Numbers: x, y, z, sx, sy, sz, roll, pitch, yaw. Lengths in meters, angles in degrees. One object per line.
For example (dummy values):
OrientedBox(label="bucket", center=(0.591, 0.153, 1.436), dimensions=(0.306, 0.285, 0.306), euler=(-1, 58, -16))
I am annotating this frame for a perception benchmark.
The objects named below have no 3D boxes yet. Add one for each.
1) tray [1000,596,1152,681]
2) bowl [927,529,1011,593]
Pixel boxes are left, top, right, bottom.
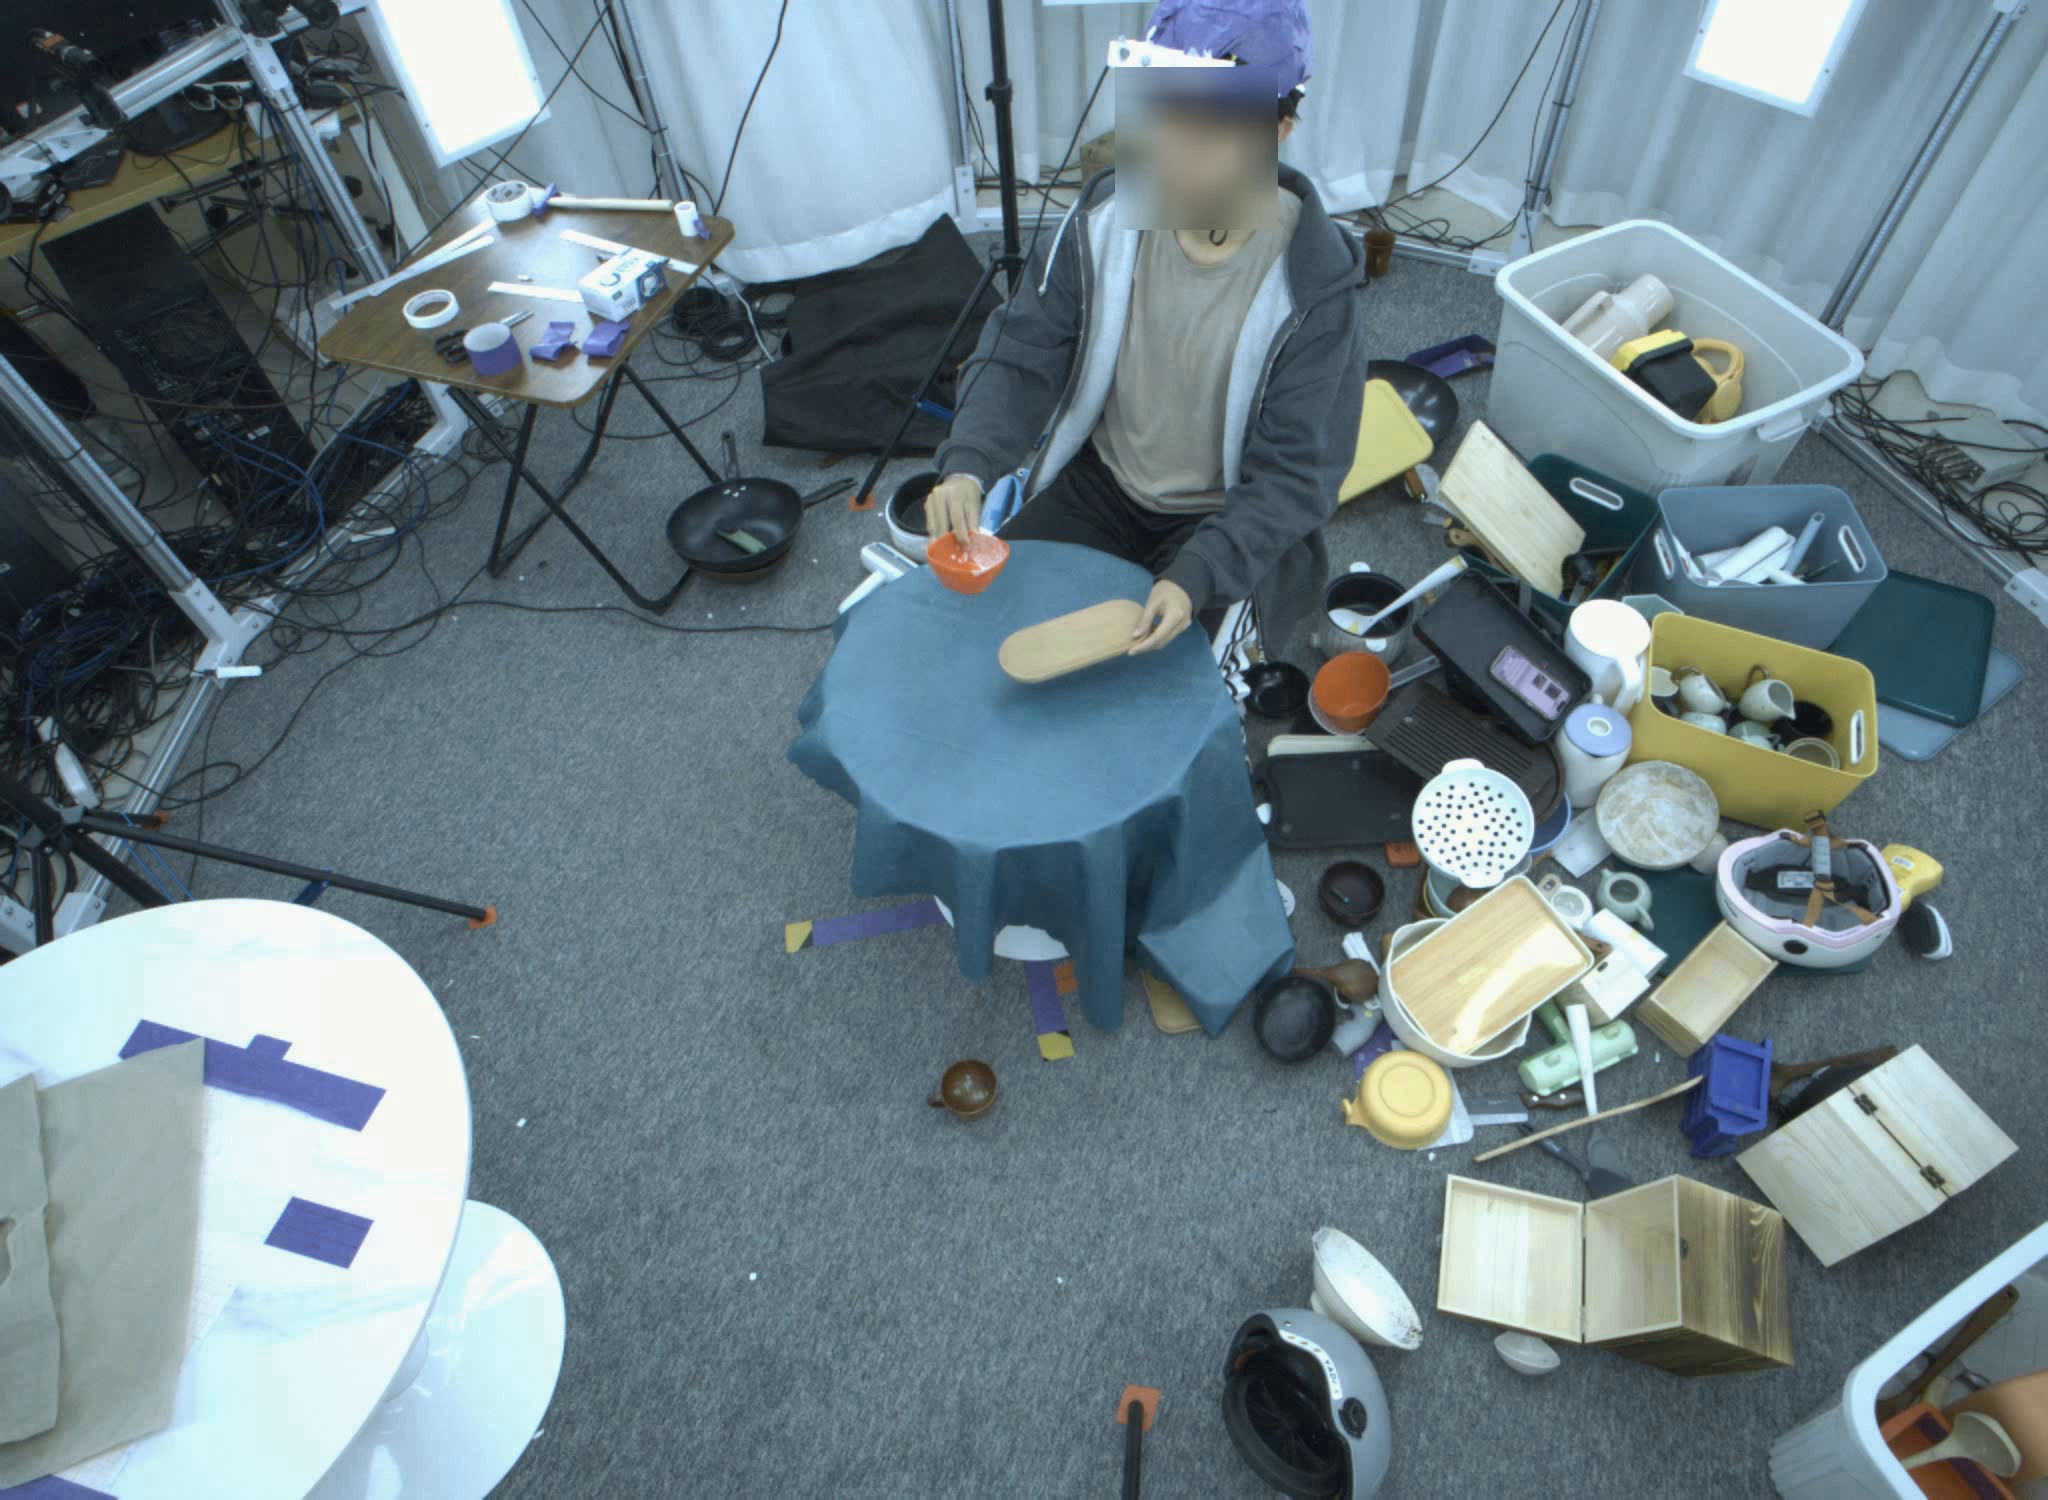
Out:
OrientedBox(label="tray", center=(0.077, -0.164, 1.814), dimensions=(0.232, 0.020, 0.100), euler=(-19, 55, -6))
OrientedBox(label="bowl", center=(-0.078, -0.261, 1.718), dimensions=(0.119, 0.052, 0.117), euler=(4, 38, -2))
